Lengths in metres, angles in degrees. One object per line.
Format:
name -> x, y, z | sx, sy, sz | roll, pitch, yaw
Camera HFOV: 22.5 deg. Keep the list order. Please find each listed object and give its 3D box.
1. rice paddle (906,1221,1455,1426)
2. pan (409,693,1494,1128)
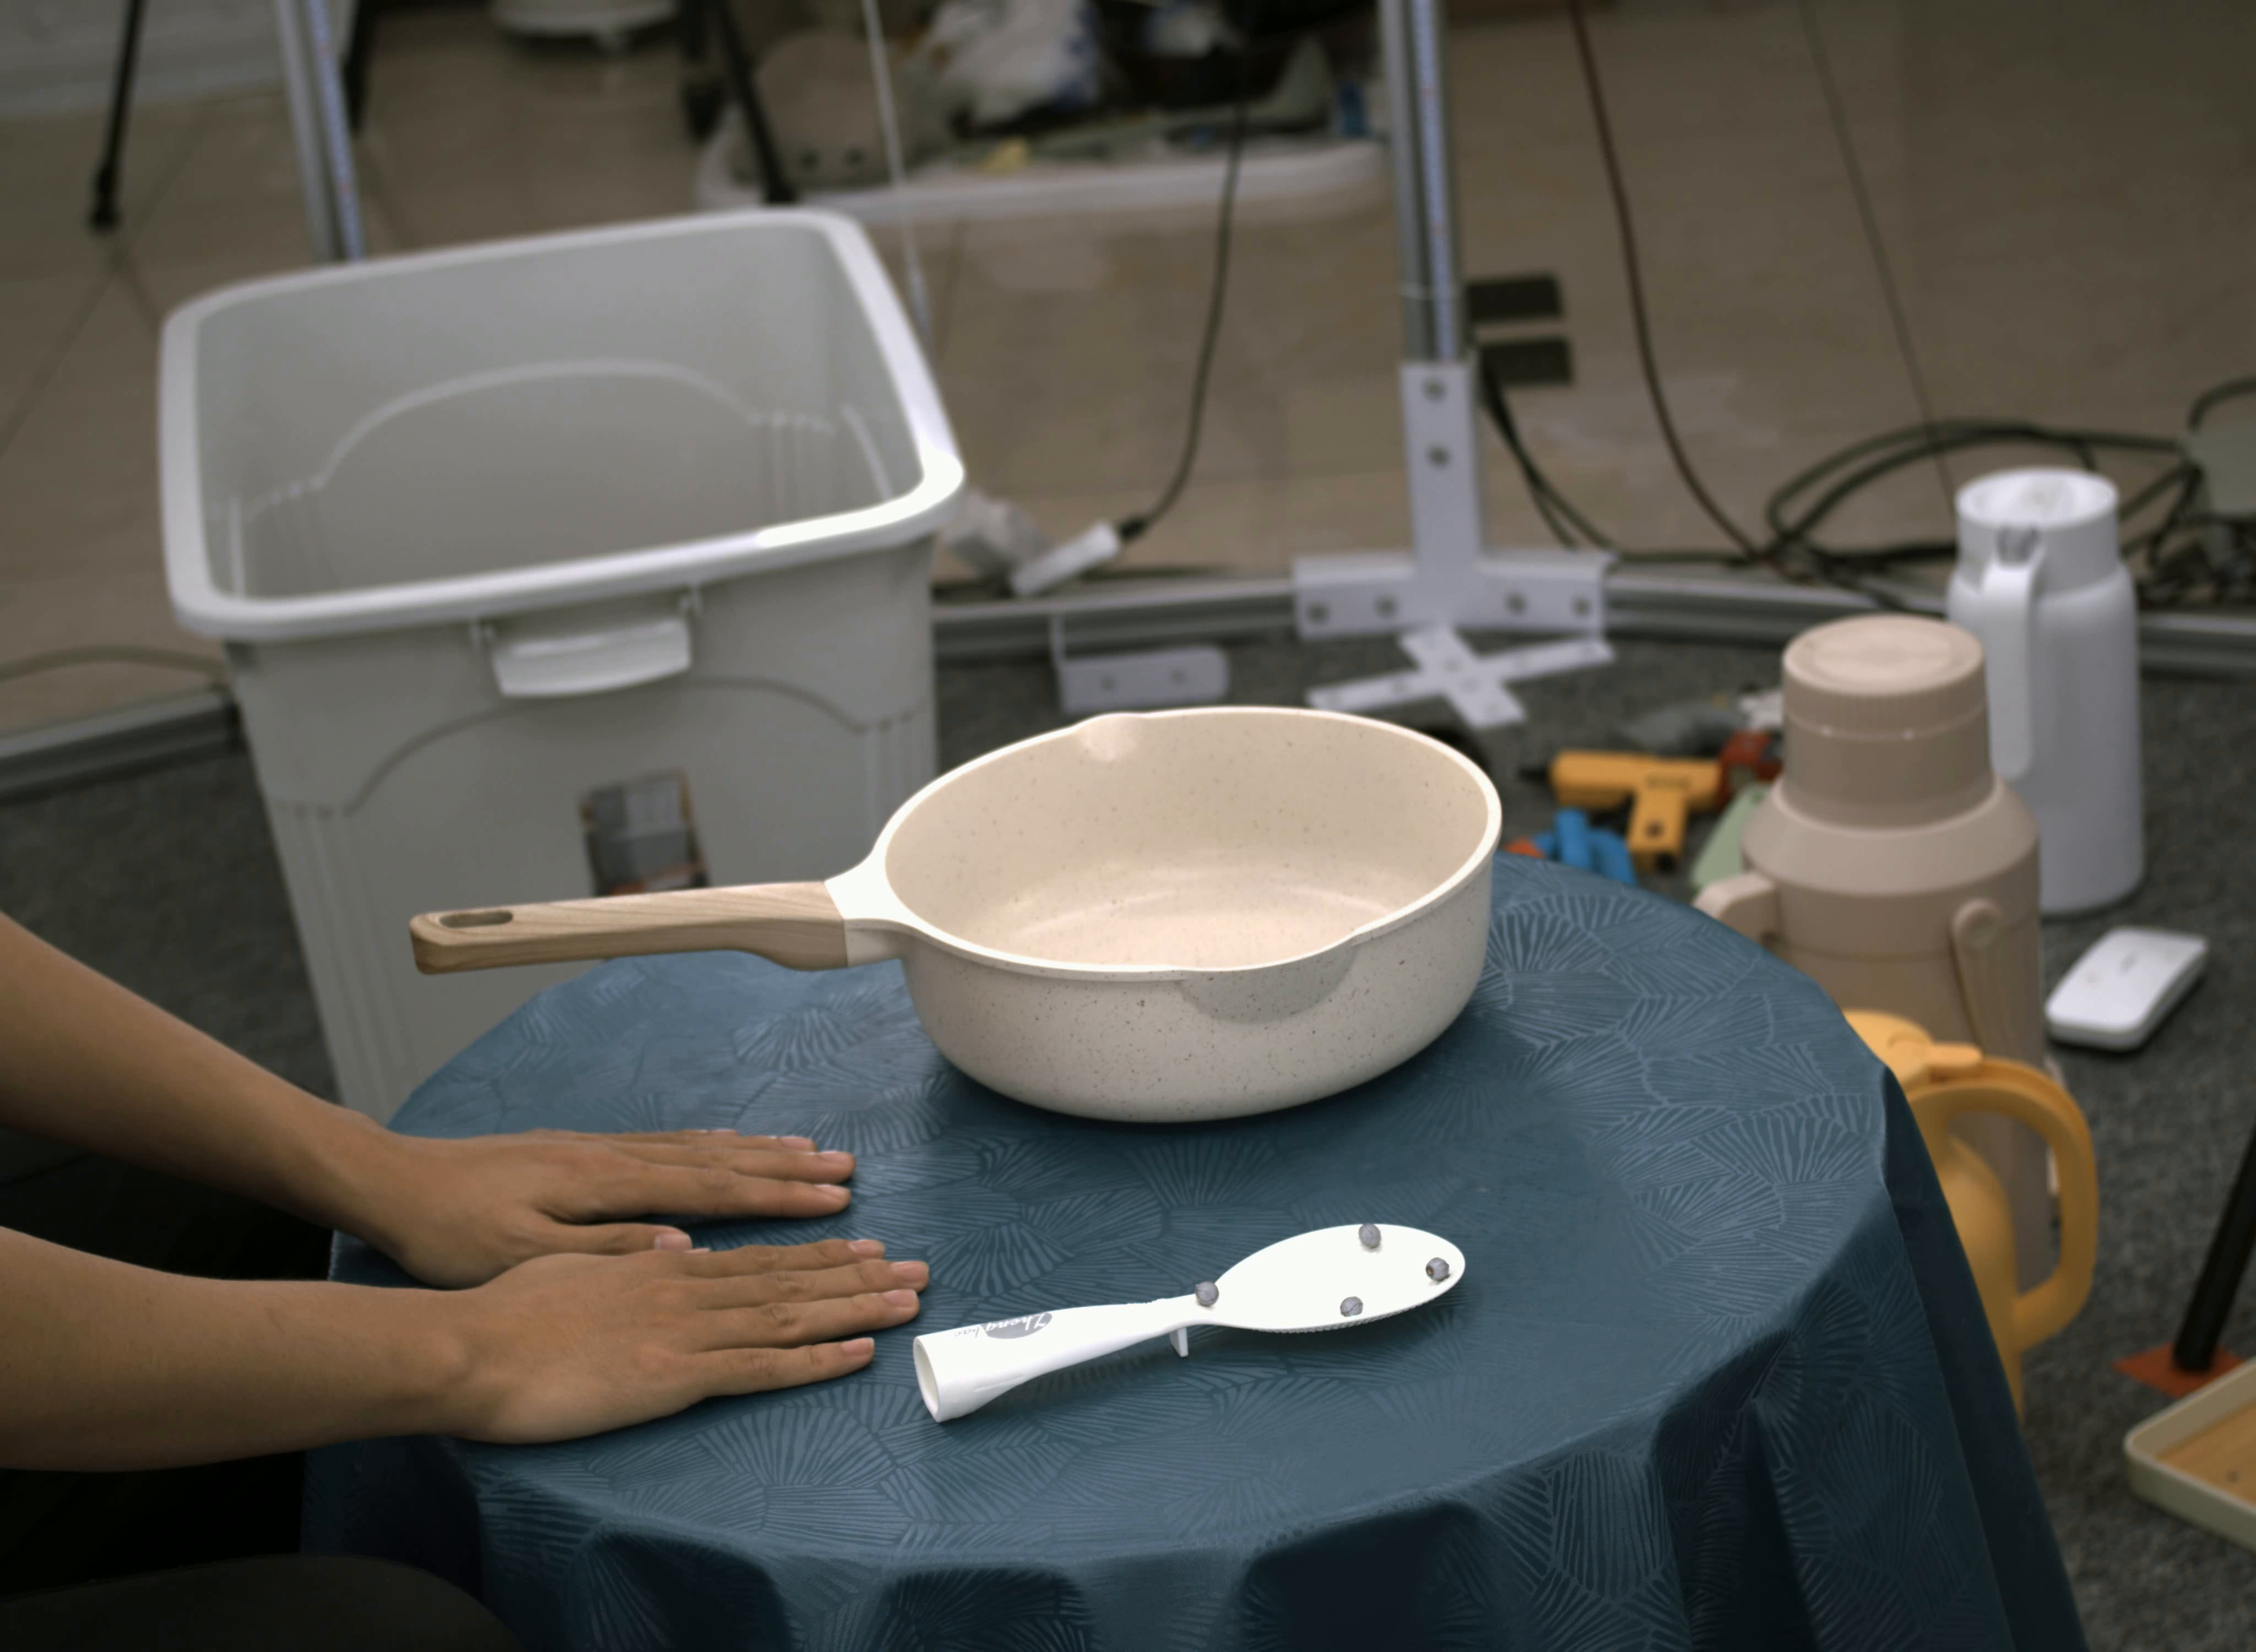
rice paddle -> 0.021, 0.174, 2.035 | 0.204, 0.030, 0.068 | -13, 28, -15
pan -> -0.065, 0.049, 2.250 | 0.434, 0.104, 0.259 | -12, 28, -11
